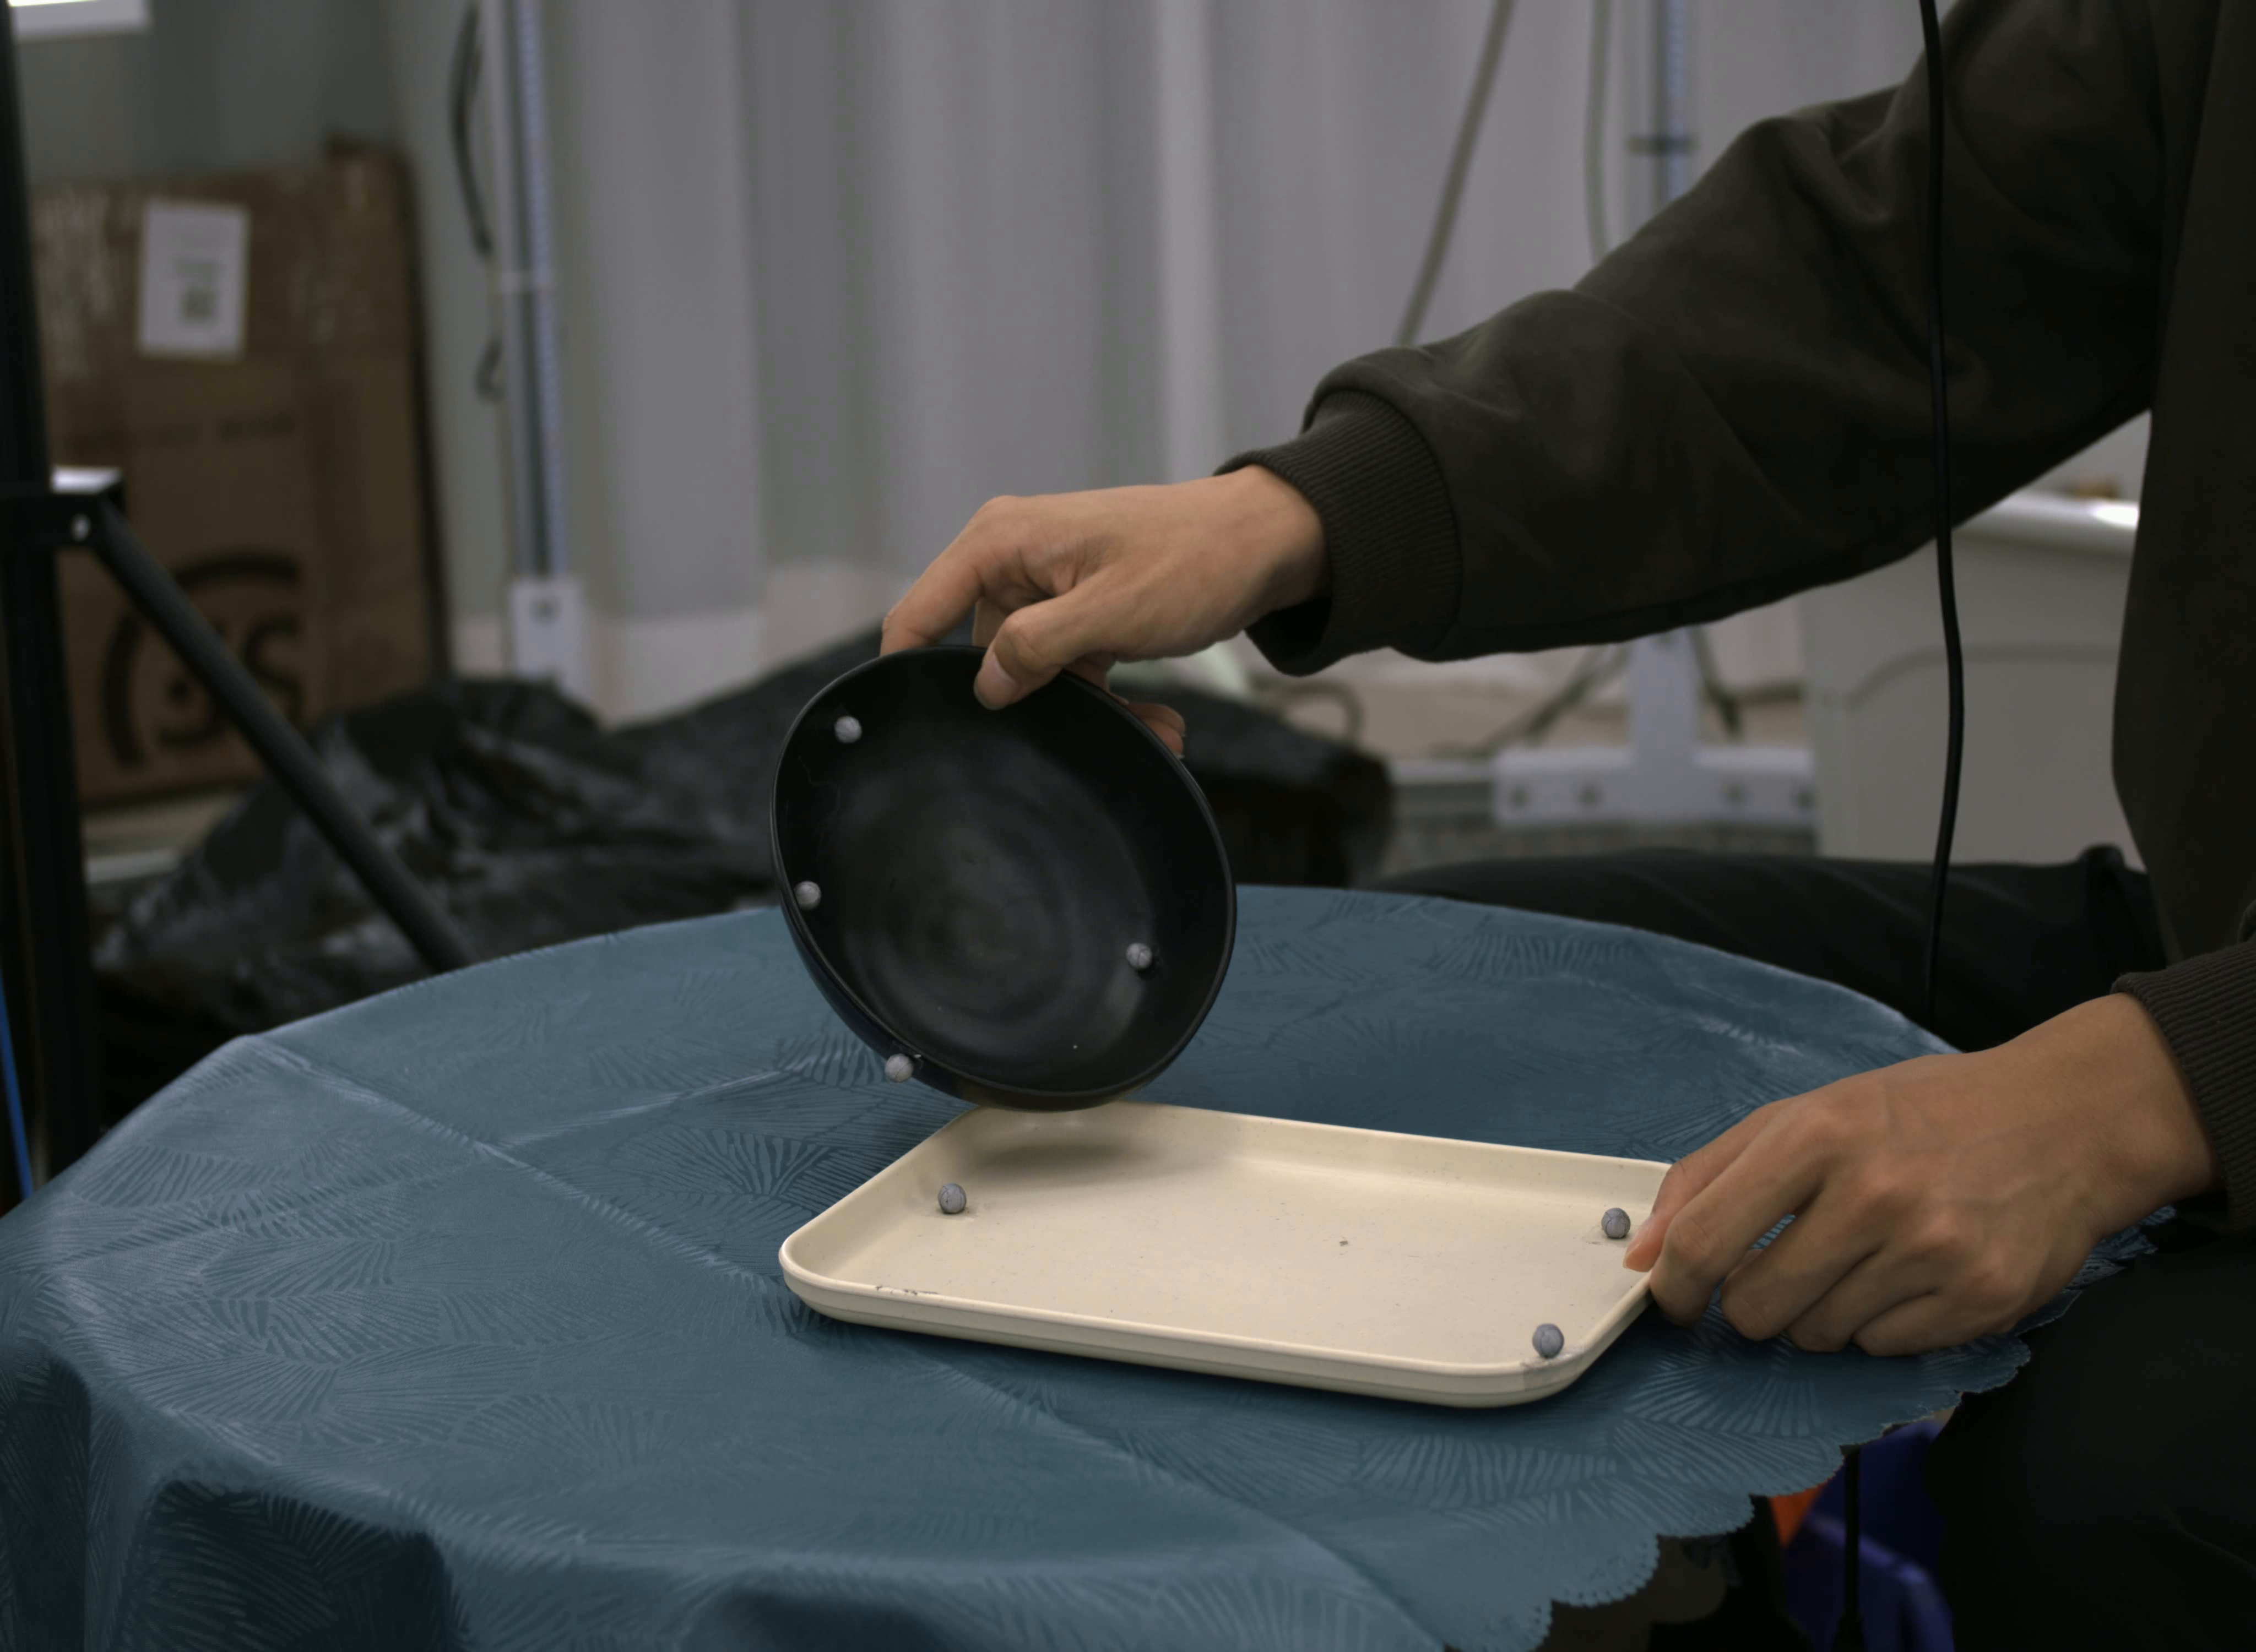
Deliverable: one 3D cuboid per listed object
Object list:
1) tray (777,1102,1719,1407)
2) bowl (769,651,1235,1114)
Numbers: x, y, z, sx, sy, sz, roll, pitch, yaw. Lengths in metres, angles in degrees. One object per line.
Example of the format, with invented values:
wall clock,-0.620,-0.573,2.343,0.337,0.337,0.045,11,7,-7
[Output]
tray,0.035,0.119,1.486,0.243,0.017,0.168,5,17,25
bowl,-0.044,0.025,1.619,0.135,0.066,0.173,-15,58,-20
